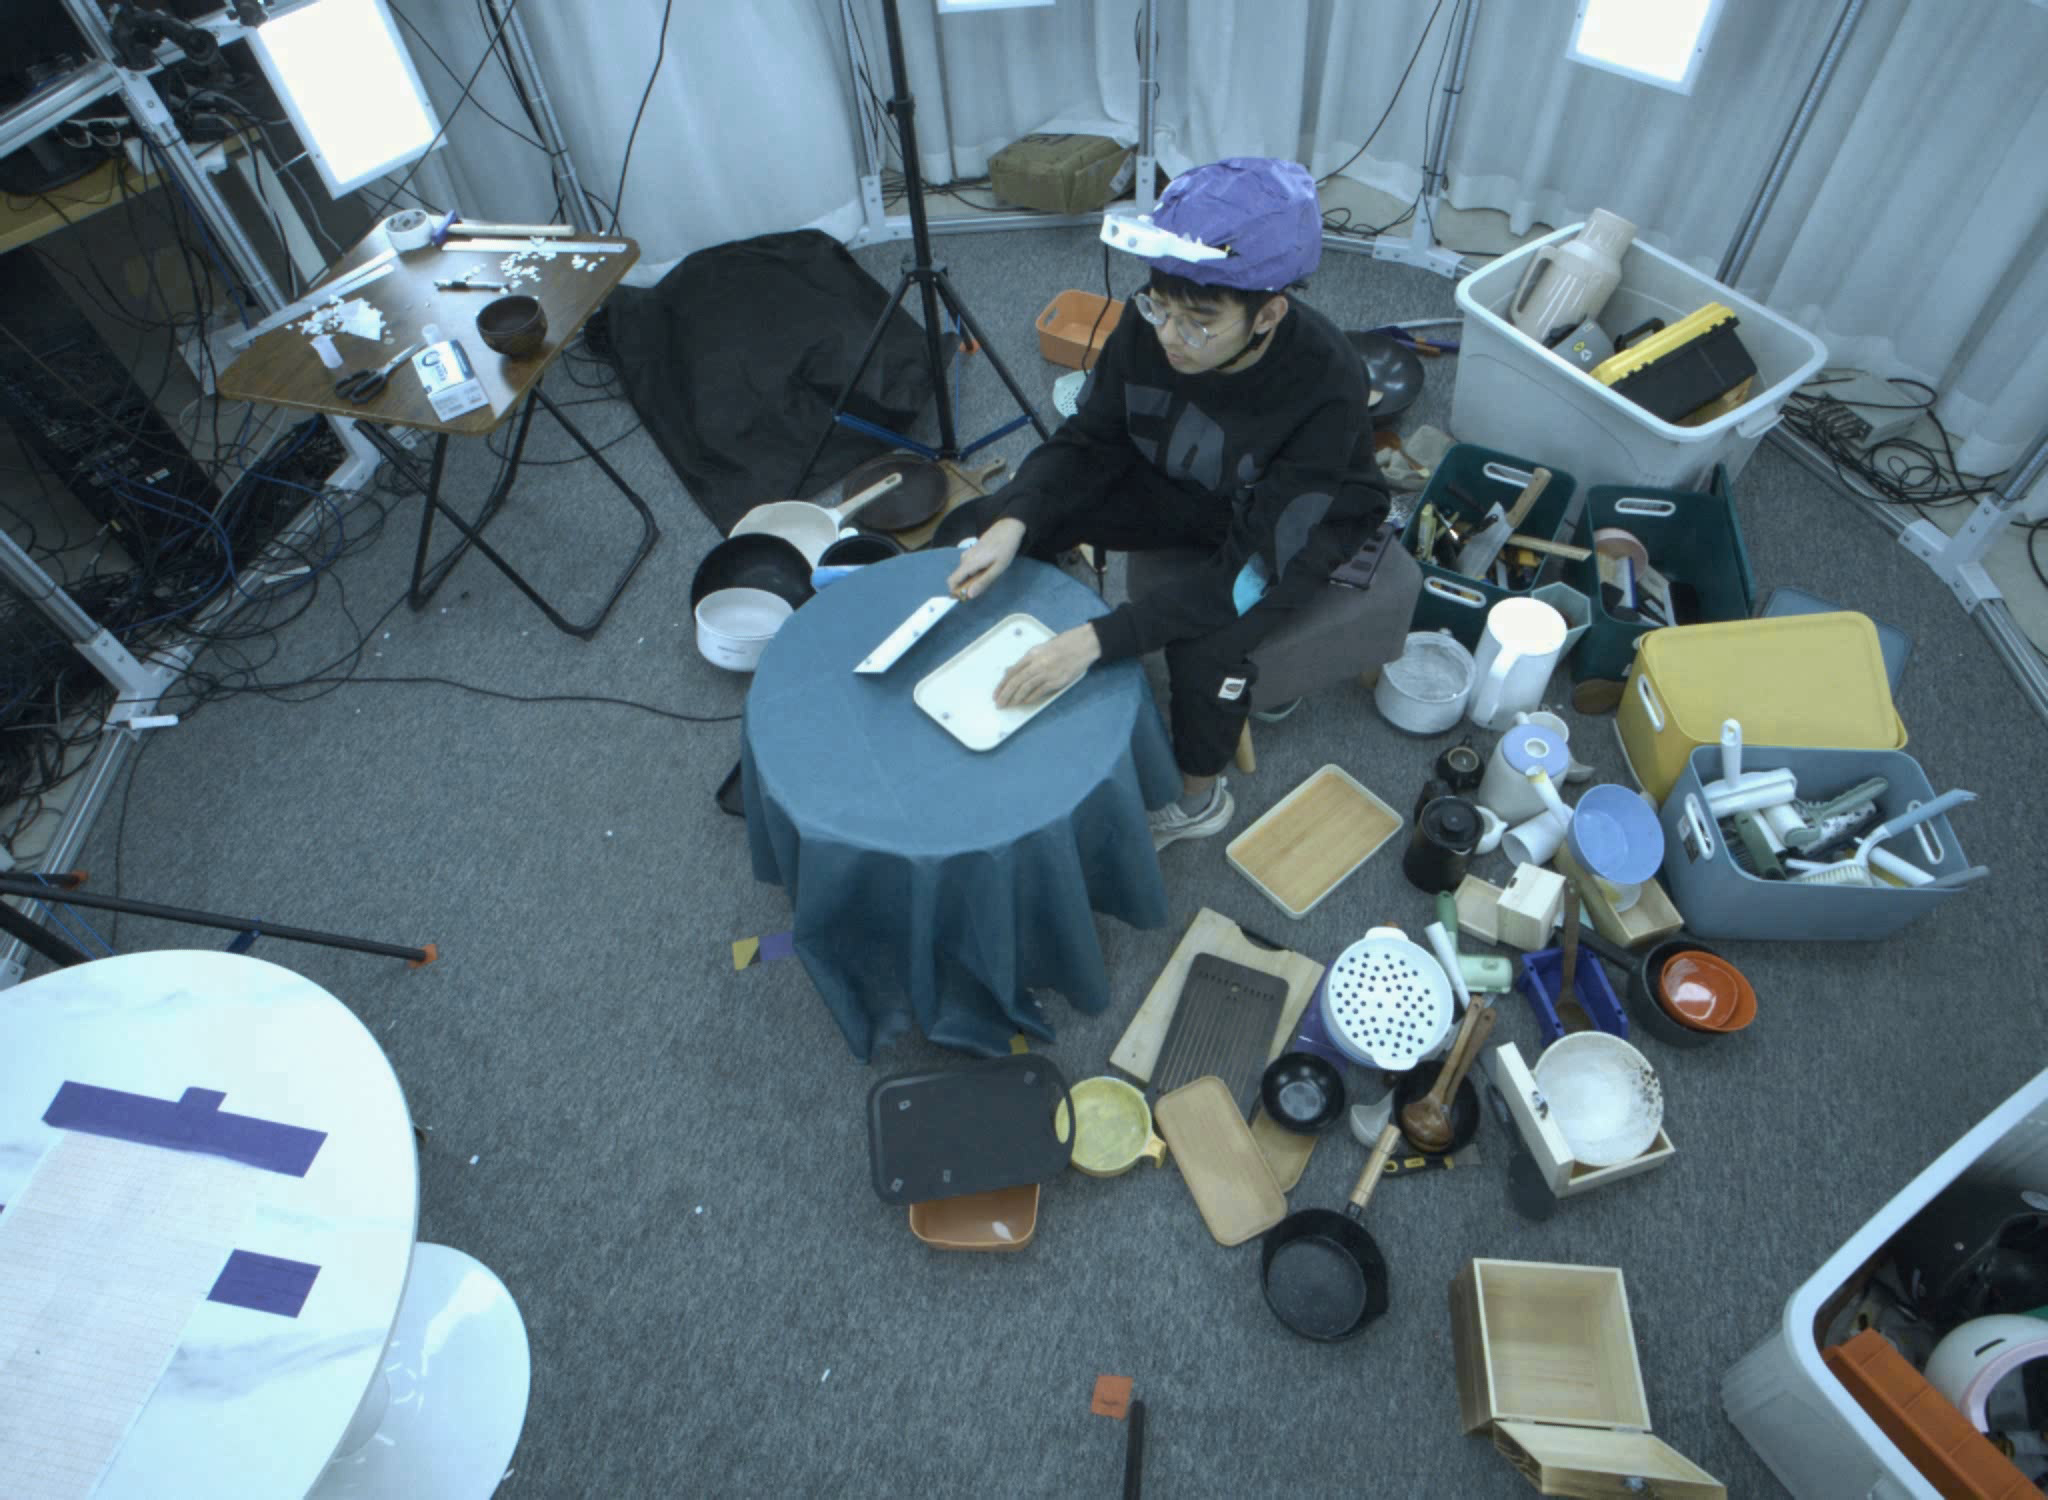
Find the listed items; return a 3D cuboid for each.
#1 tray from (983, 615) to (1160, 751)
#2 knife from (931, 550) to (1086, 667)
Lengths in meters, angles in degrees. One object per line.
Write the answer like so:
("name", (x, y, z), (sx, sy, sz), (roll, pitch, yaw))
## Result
("tray", (0.072, -0.102, 1.844), (0.241, 0.018, 0.168), (-34, 59, -20))
("knife", (-0.027, -0.222, 1.913), (0.308, 0.021, 0.091), (-43, 30, -25))
